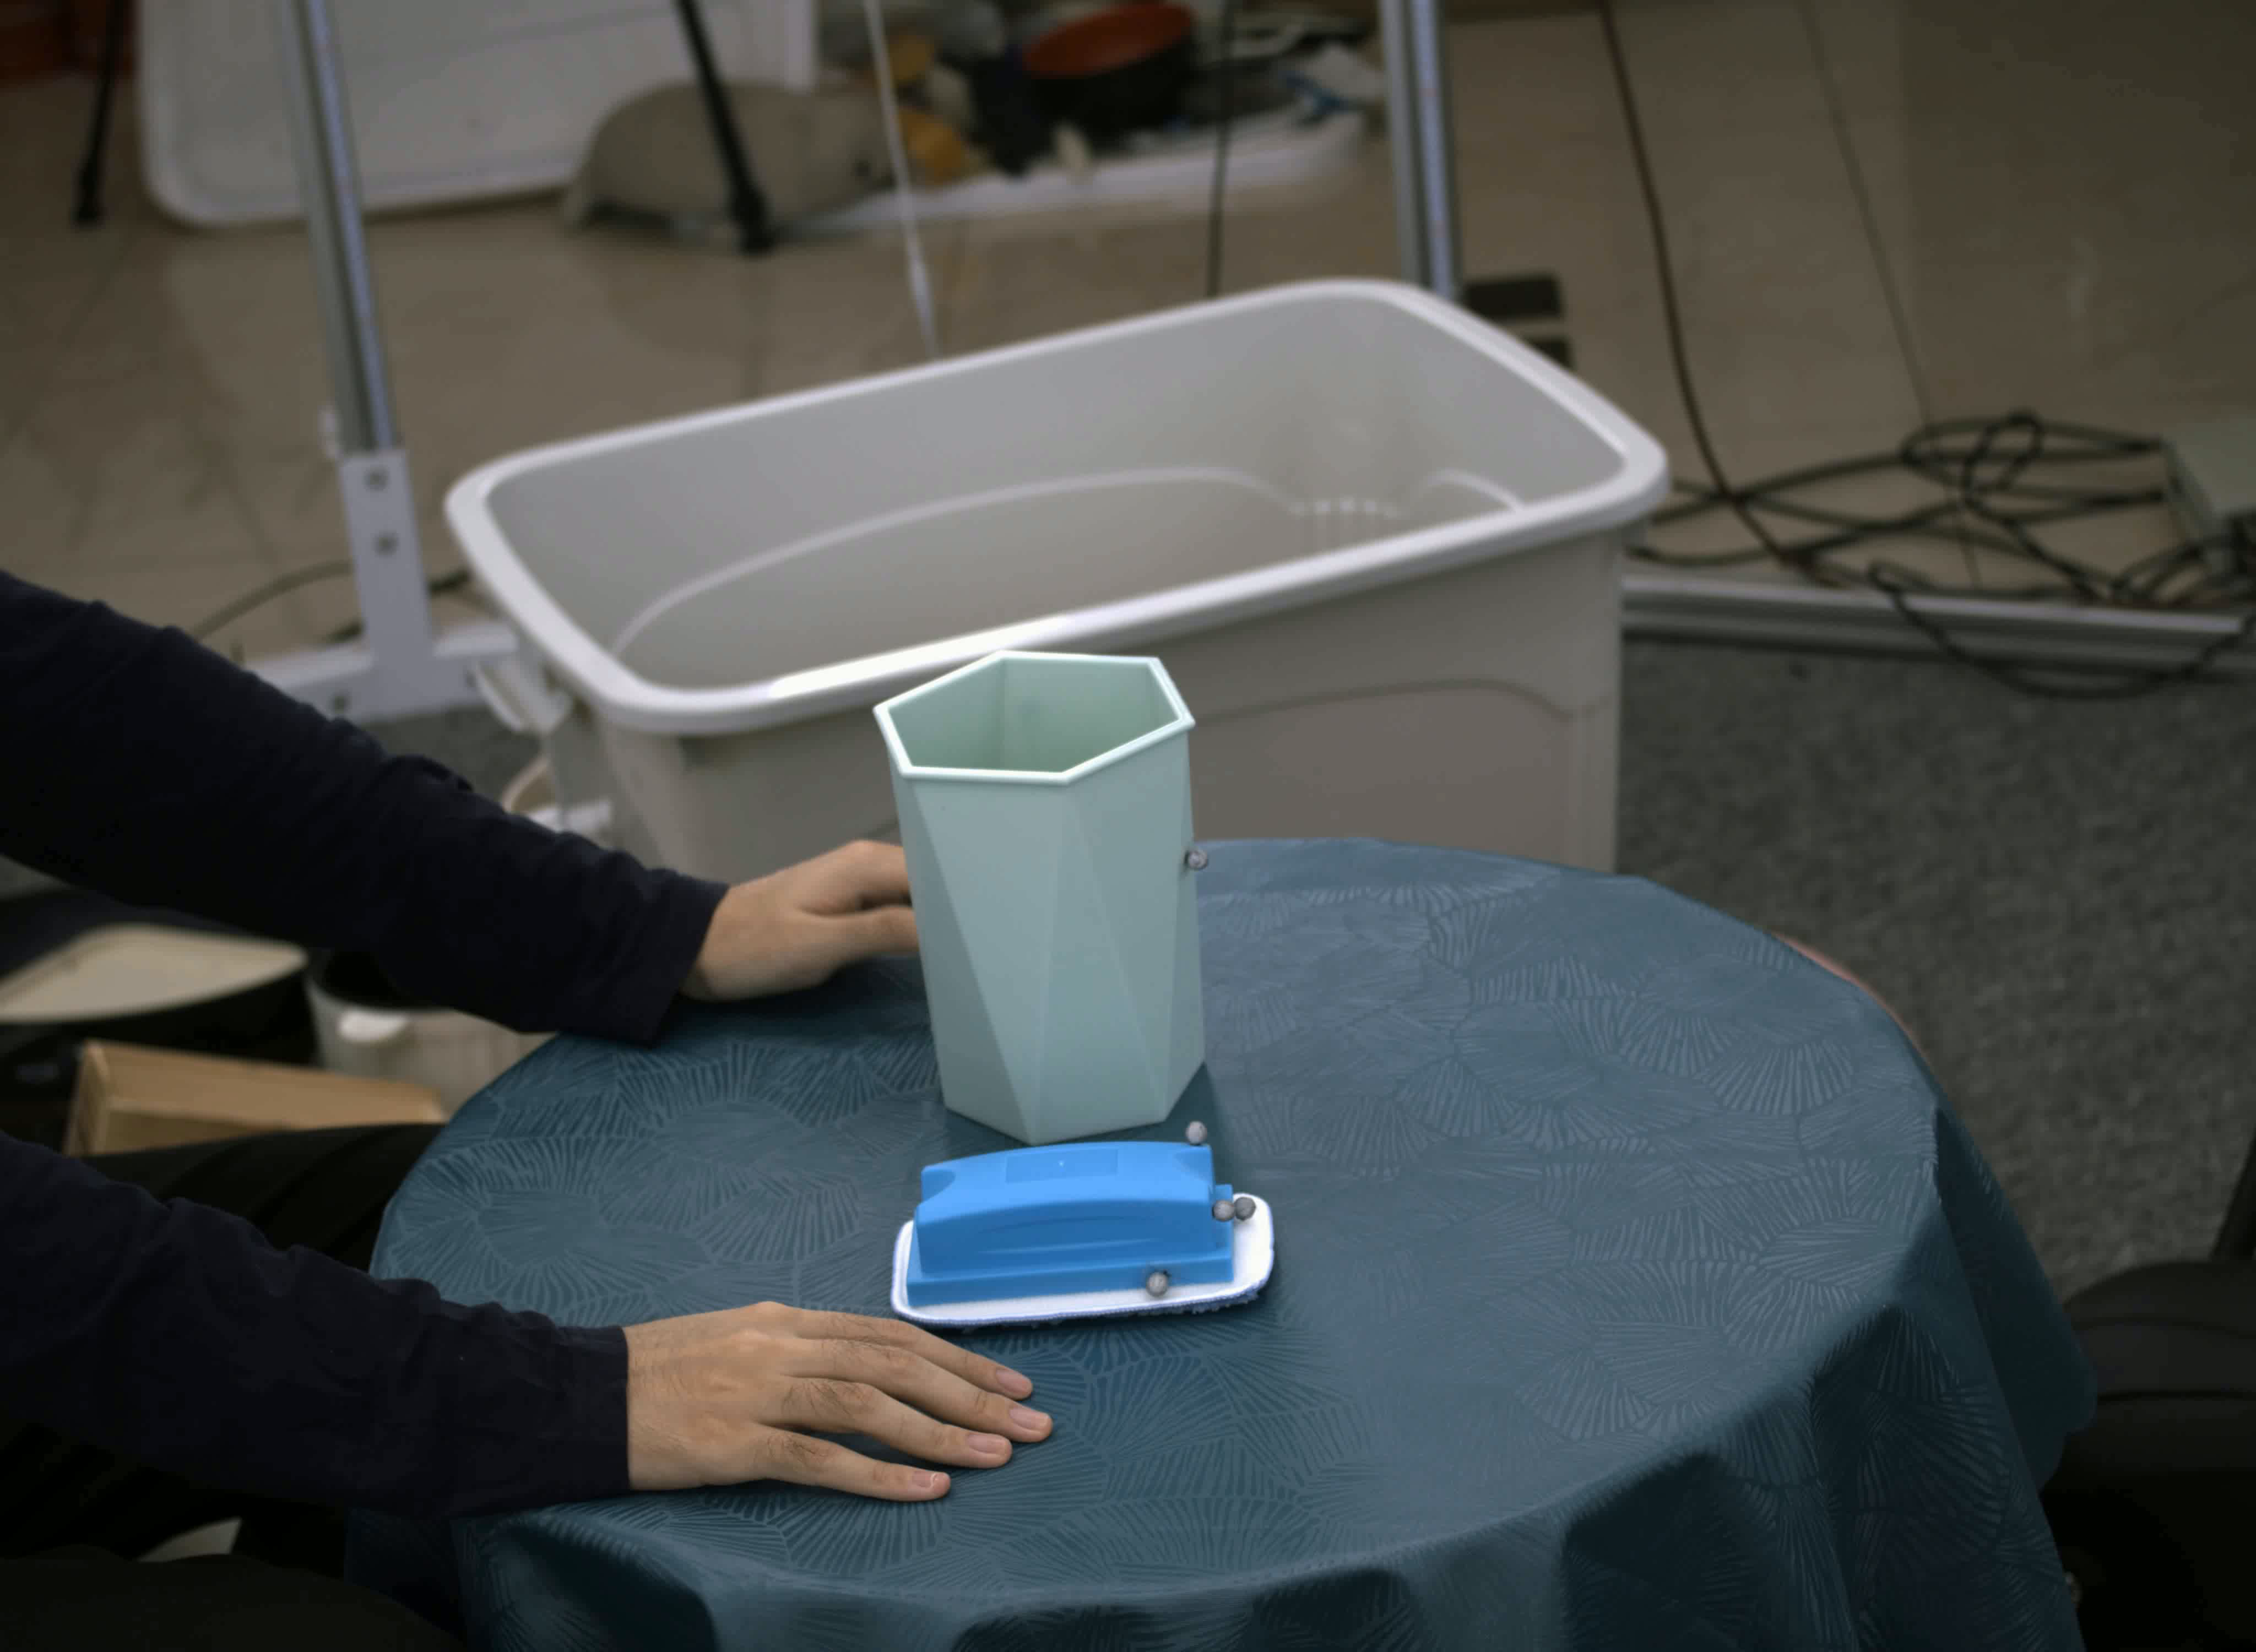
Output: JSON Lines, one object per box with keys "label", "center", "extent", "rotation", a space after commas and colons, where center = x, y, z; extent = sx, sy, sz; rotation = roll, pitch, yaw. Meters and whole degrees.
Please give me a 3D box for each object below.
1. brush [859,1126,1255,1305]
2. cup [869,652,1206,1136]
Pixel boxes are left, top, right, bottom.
{"label": "brush", "center": [-0.026, 0.140, 2.077], "extent": [0.144, 0.057, 0.083], "rotation": [-1, 23, 5]}
{"label": "cup", "center": [-0.028, 0.028, 2.198], "extent": [0.115, 0.165, 0.129], "rotation": [-12, 27, -9]}
